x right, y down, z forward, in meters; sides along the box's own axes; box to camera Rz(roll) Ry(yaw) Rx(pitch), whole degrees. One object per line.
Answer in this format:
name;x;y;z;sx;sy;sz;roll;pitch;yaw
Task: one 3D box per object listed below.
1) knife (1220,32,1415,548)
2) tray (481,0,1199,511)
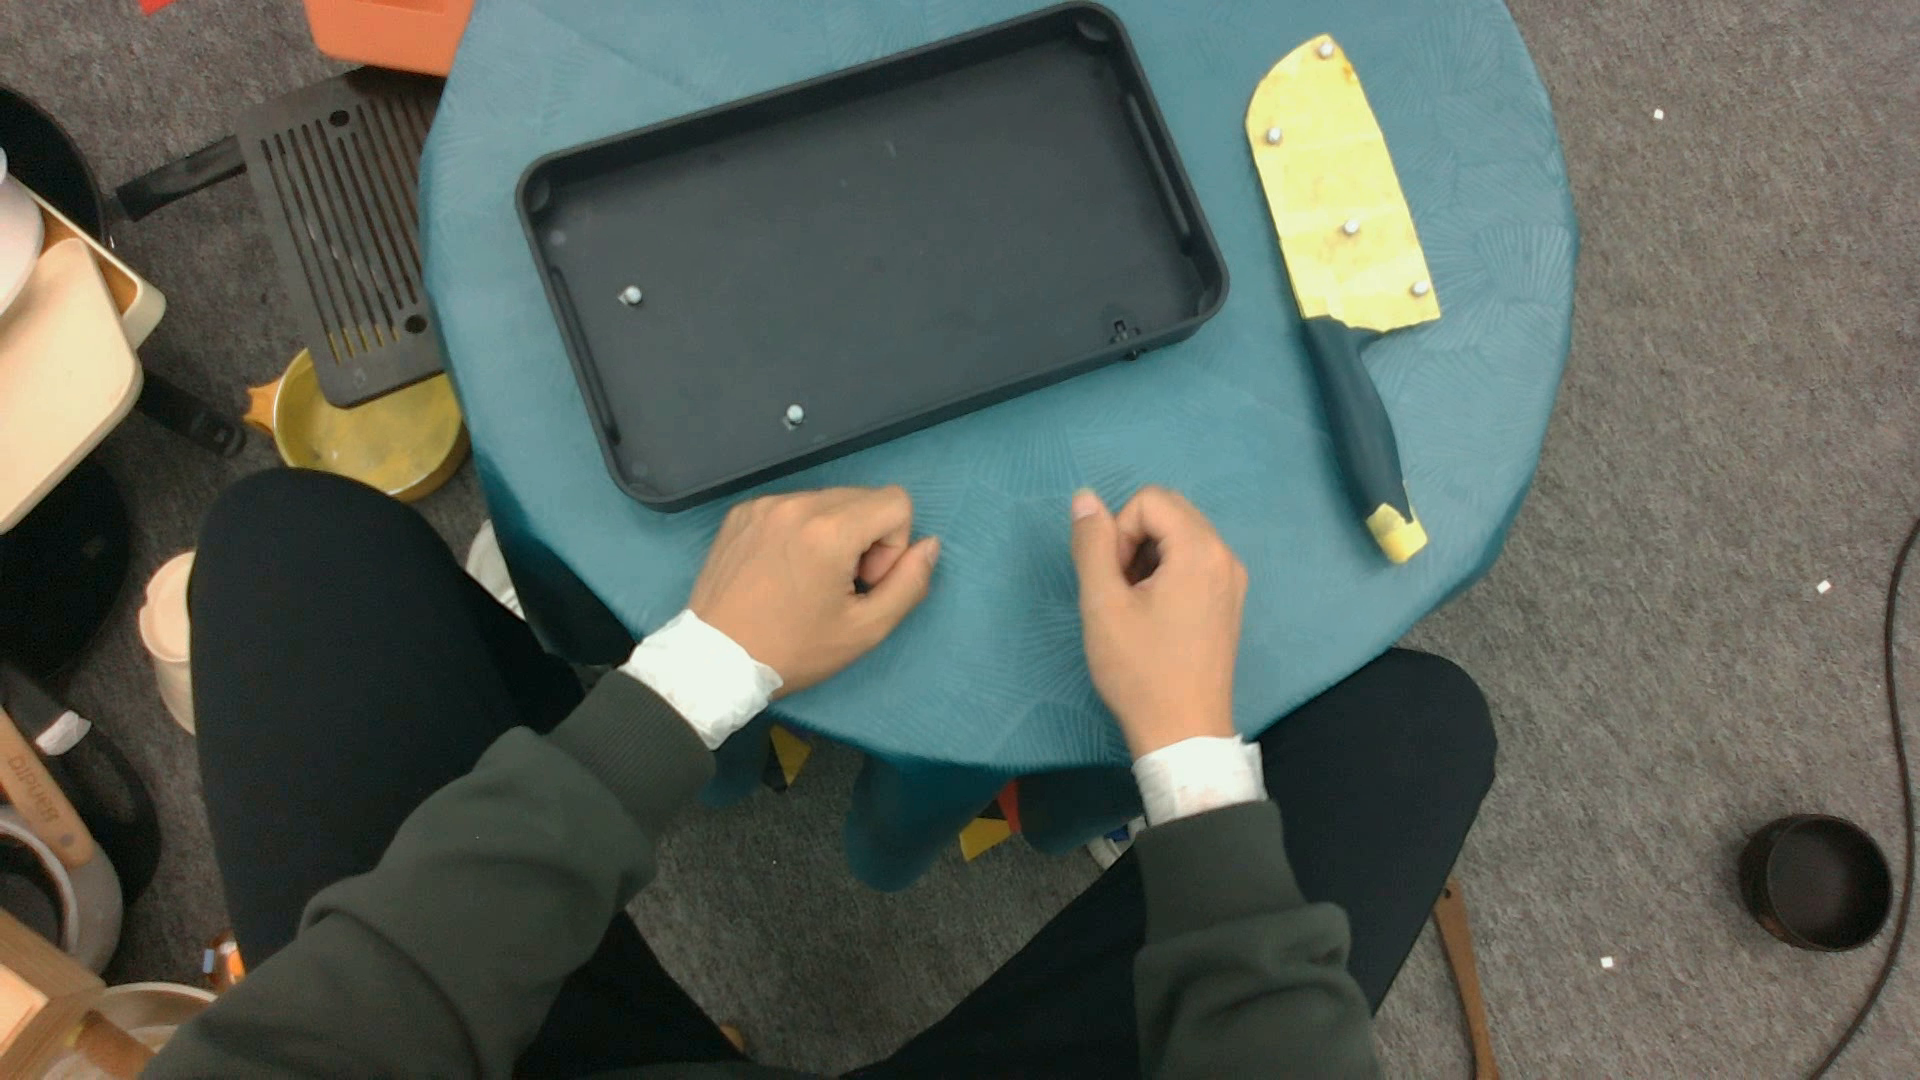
knife;0.196;-0.138;0.722;0.081;0.027;0.290;-9;79;-6
tray;-0.056;-0.148;0.686;0.318;0.037;0.184;-22;82;-10
